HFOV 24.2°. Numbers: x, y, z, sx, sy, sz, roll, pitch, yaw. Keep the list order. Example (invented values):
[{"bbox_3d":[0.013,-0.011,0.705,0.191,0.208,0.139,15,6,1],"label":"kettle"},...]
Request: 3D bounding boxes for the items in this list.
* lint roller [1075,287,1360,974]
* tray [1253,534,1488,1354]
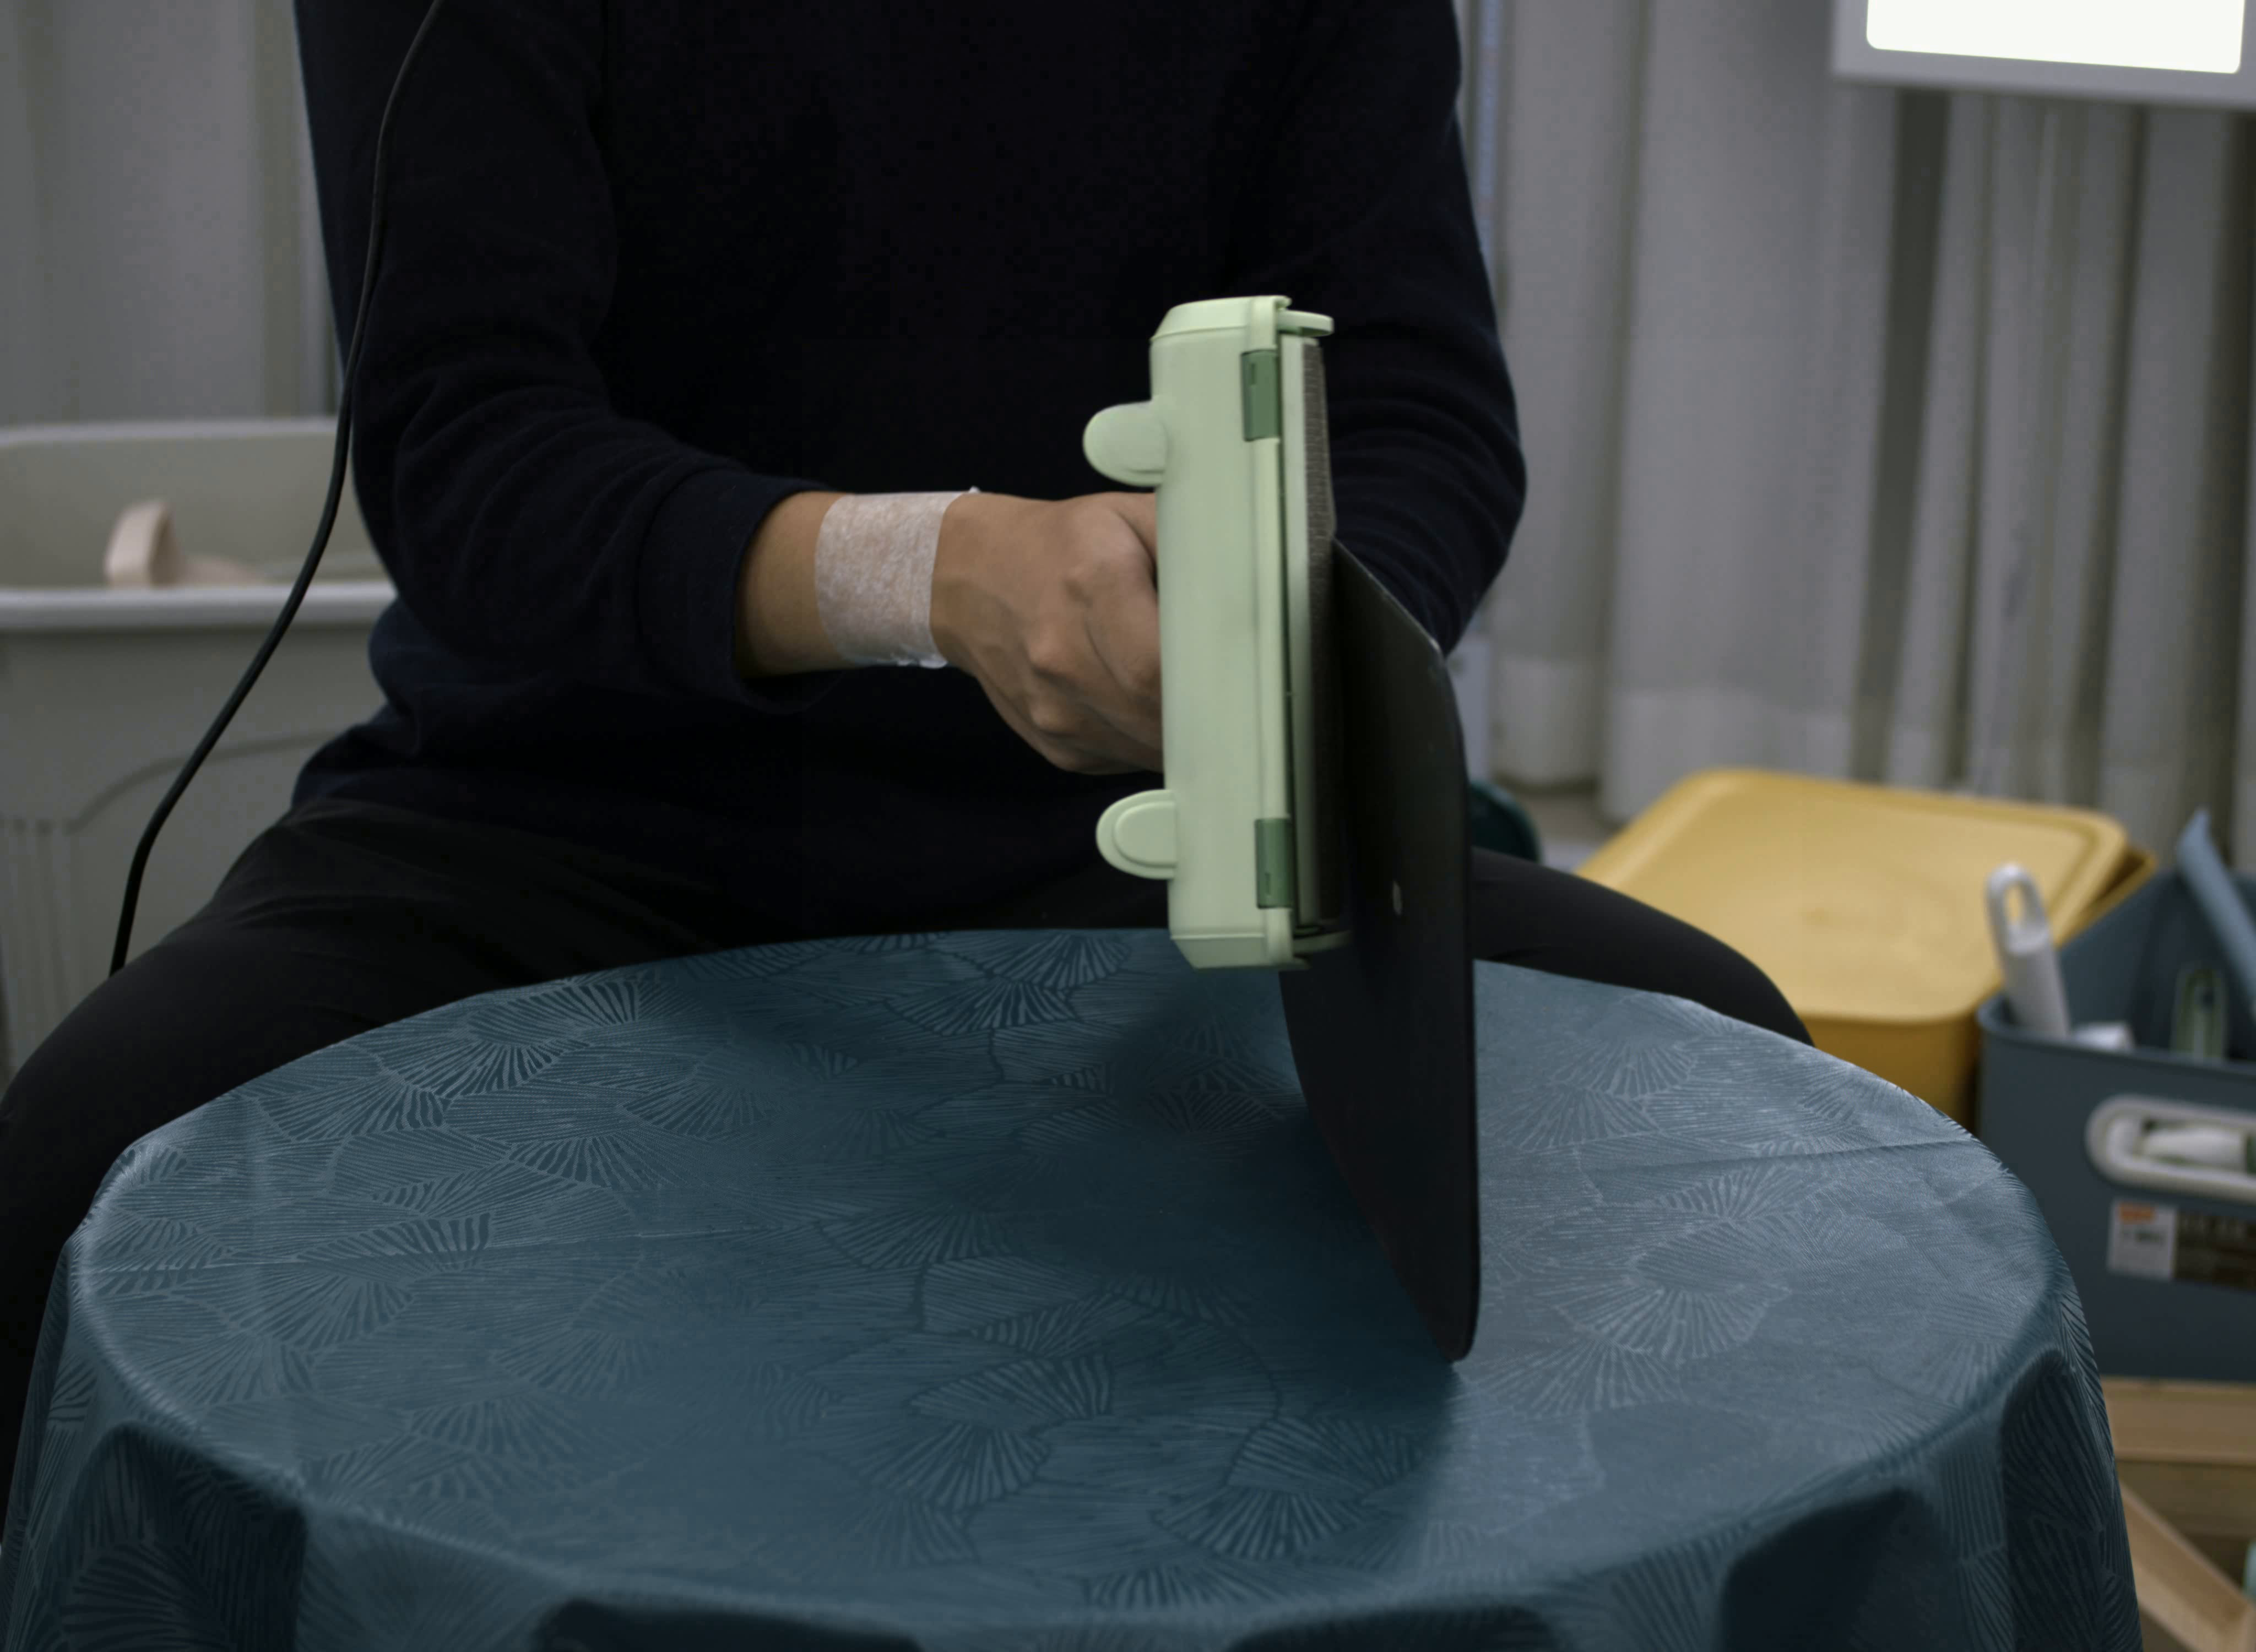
[{"bbox_3d":[0.005,-0.054,1.579,0.082,0.199,0.182,-1,-1,-28],"label":"lint roller"},{"bbox_3d":[0.067,0.016,1.574,0.010,0.213,0.322,-5,16,-9],"label":"tray"}]
